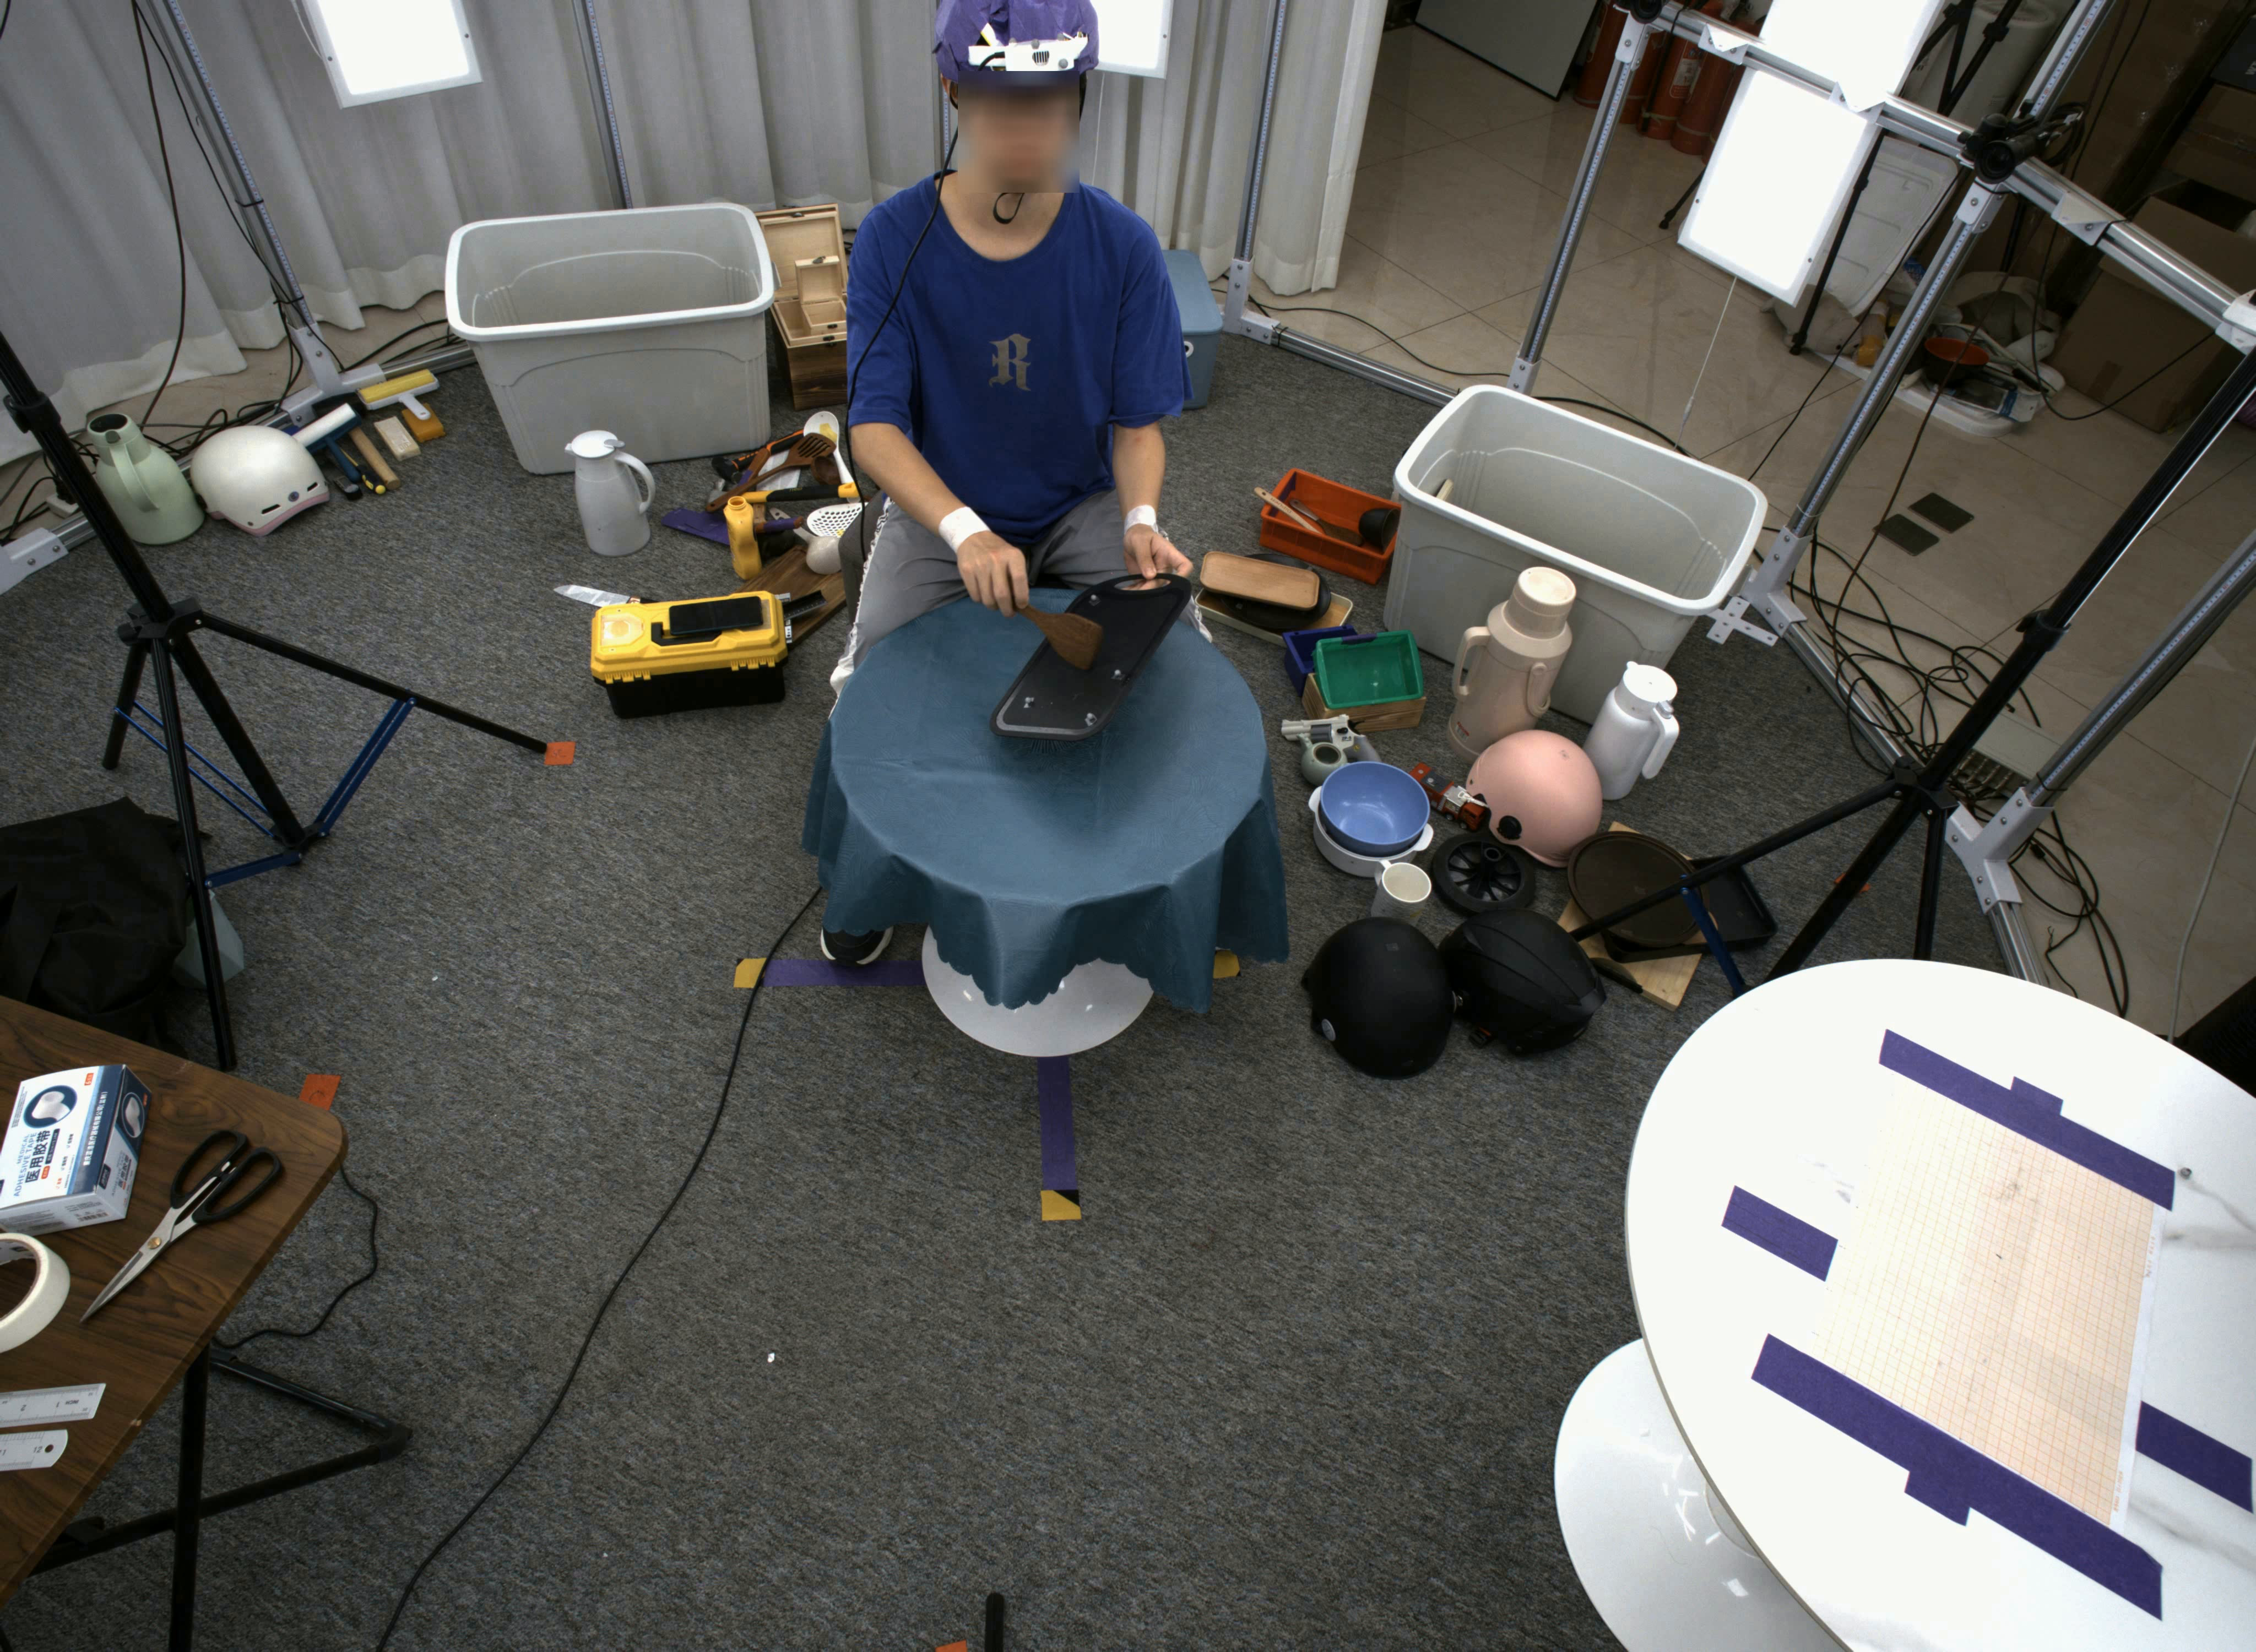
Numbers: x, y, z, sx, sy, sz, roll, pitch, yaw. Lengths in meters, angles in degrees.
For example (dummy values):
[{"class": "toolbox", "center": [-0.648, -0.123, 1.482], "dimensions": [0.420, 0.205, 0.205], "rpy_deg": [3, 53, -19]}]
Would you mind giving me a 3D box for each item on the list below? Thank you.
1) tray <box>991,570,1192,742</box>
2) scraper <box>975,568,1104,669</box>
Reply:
[{"class": "tray", "center": [-0.047, -0.239, 1.745], "dimensions": [0.212, 0.009, 0.330], "rpy_deg": [7, 54, 40]}, {"class": "scraper", "center": [-0.123, -0.287, 1.724], "dimensions": [0.213, 0.074, 0.011], "rpy_deg": [34, 42, 18]}]
